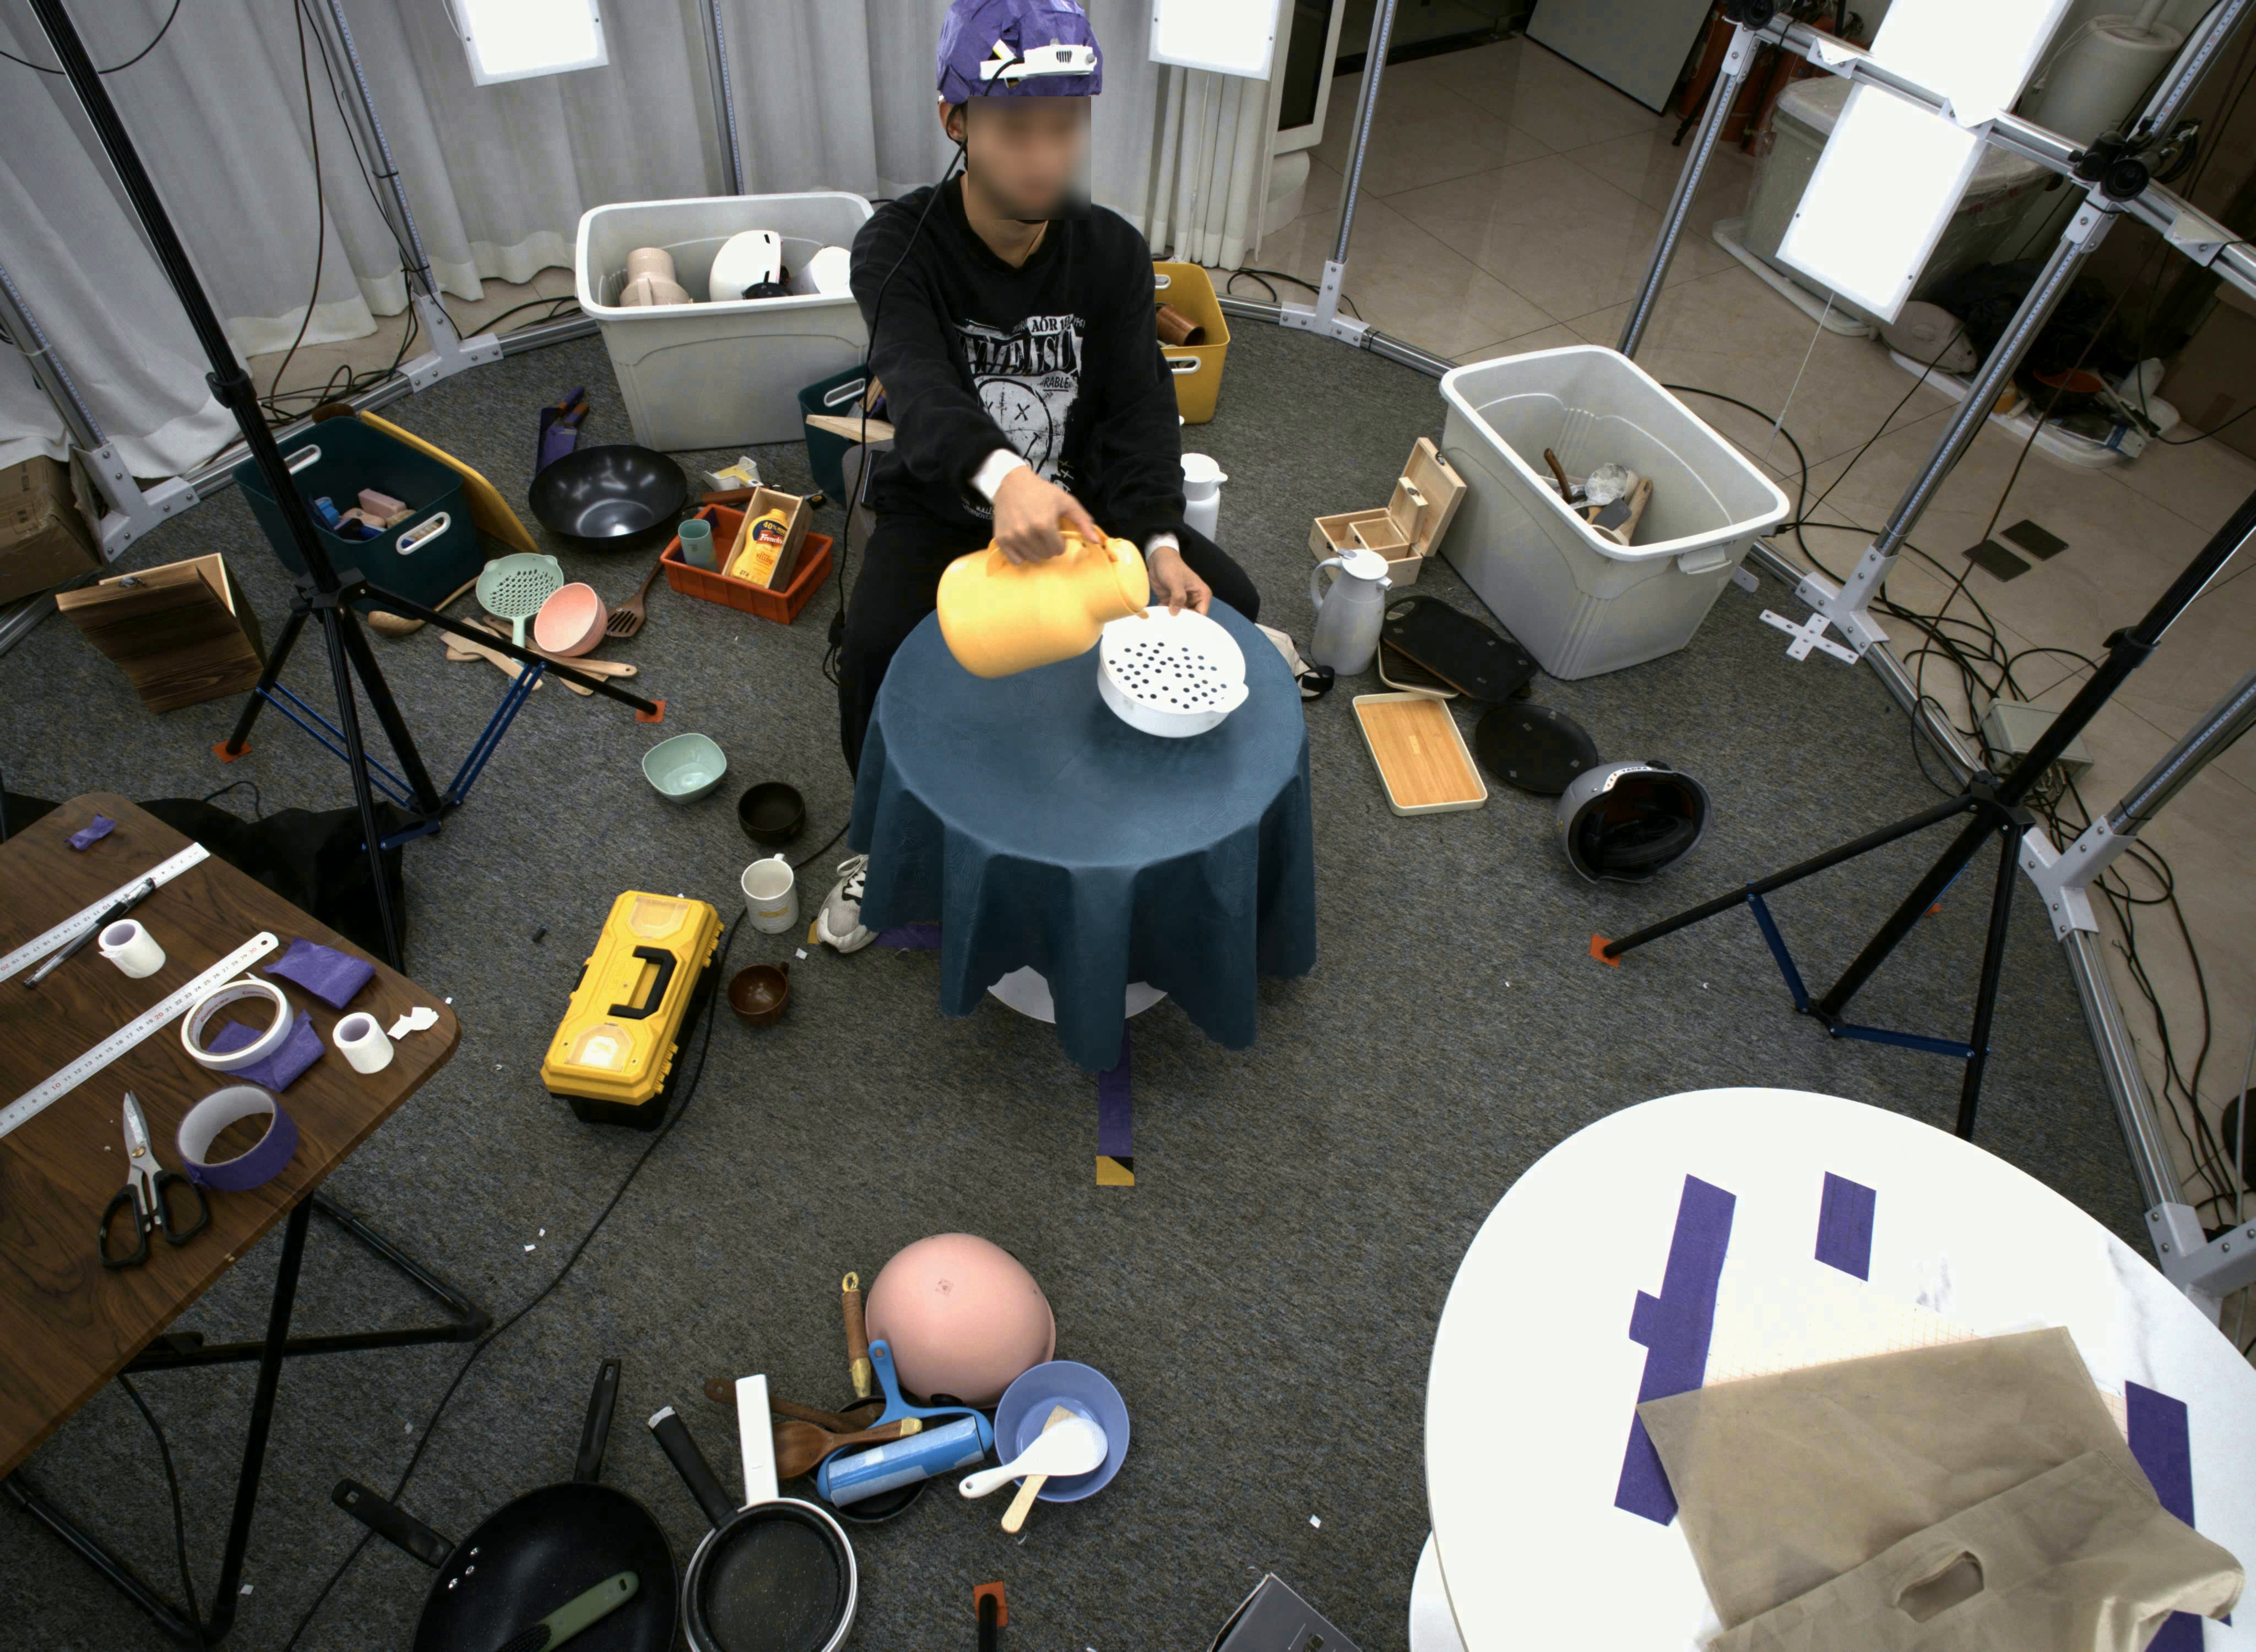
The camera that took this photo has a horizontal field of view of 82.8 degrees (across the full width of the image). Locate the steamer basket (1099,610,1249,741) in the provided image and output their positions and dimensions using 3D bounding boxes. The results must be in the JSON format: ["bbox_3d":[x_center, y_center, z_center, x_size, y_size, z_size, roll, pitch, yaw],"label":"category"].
[{"bbox_3d":[0.058,-0.206,1.768,0.233,0.067,0.204,36,55,19],"label":"steamer basket"}]

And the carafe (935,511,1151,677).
[{"bbox_3d":[-0.109,-0.300,1.613,0.260,0.198,0.167,-12,53,19],"label":"carafe"}]
